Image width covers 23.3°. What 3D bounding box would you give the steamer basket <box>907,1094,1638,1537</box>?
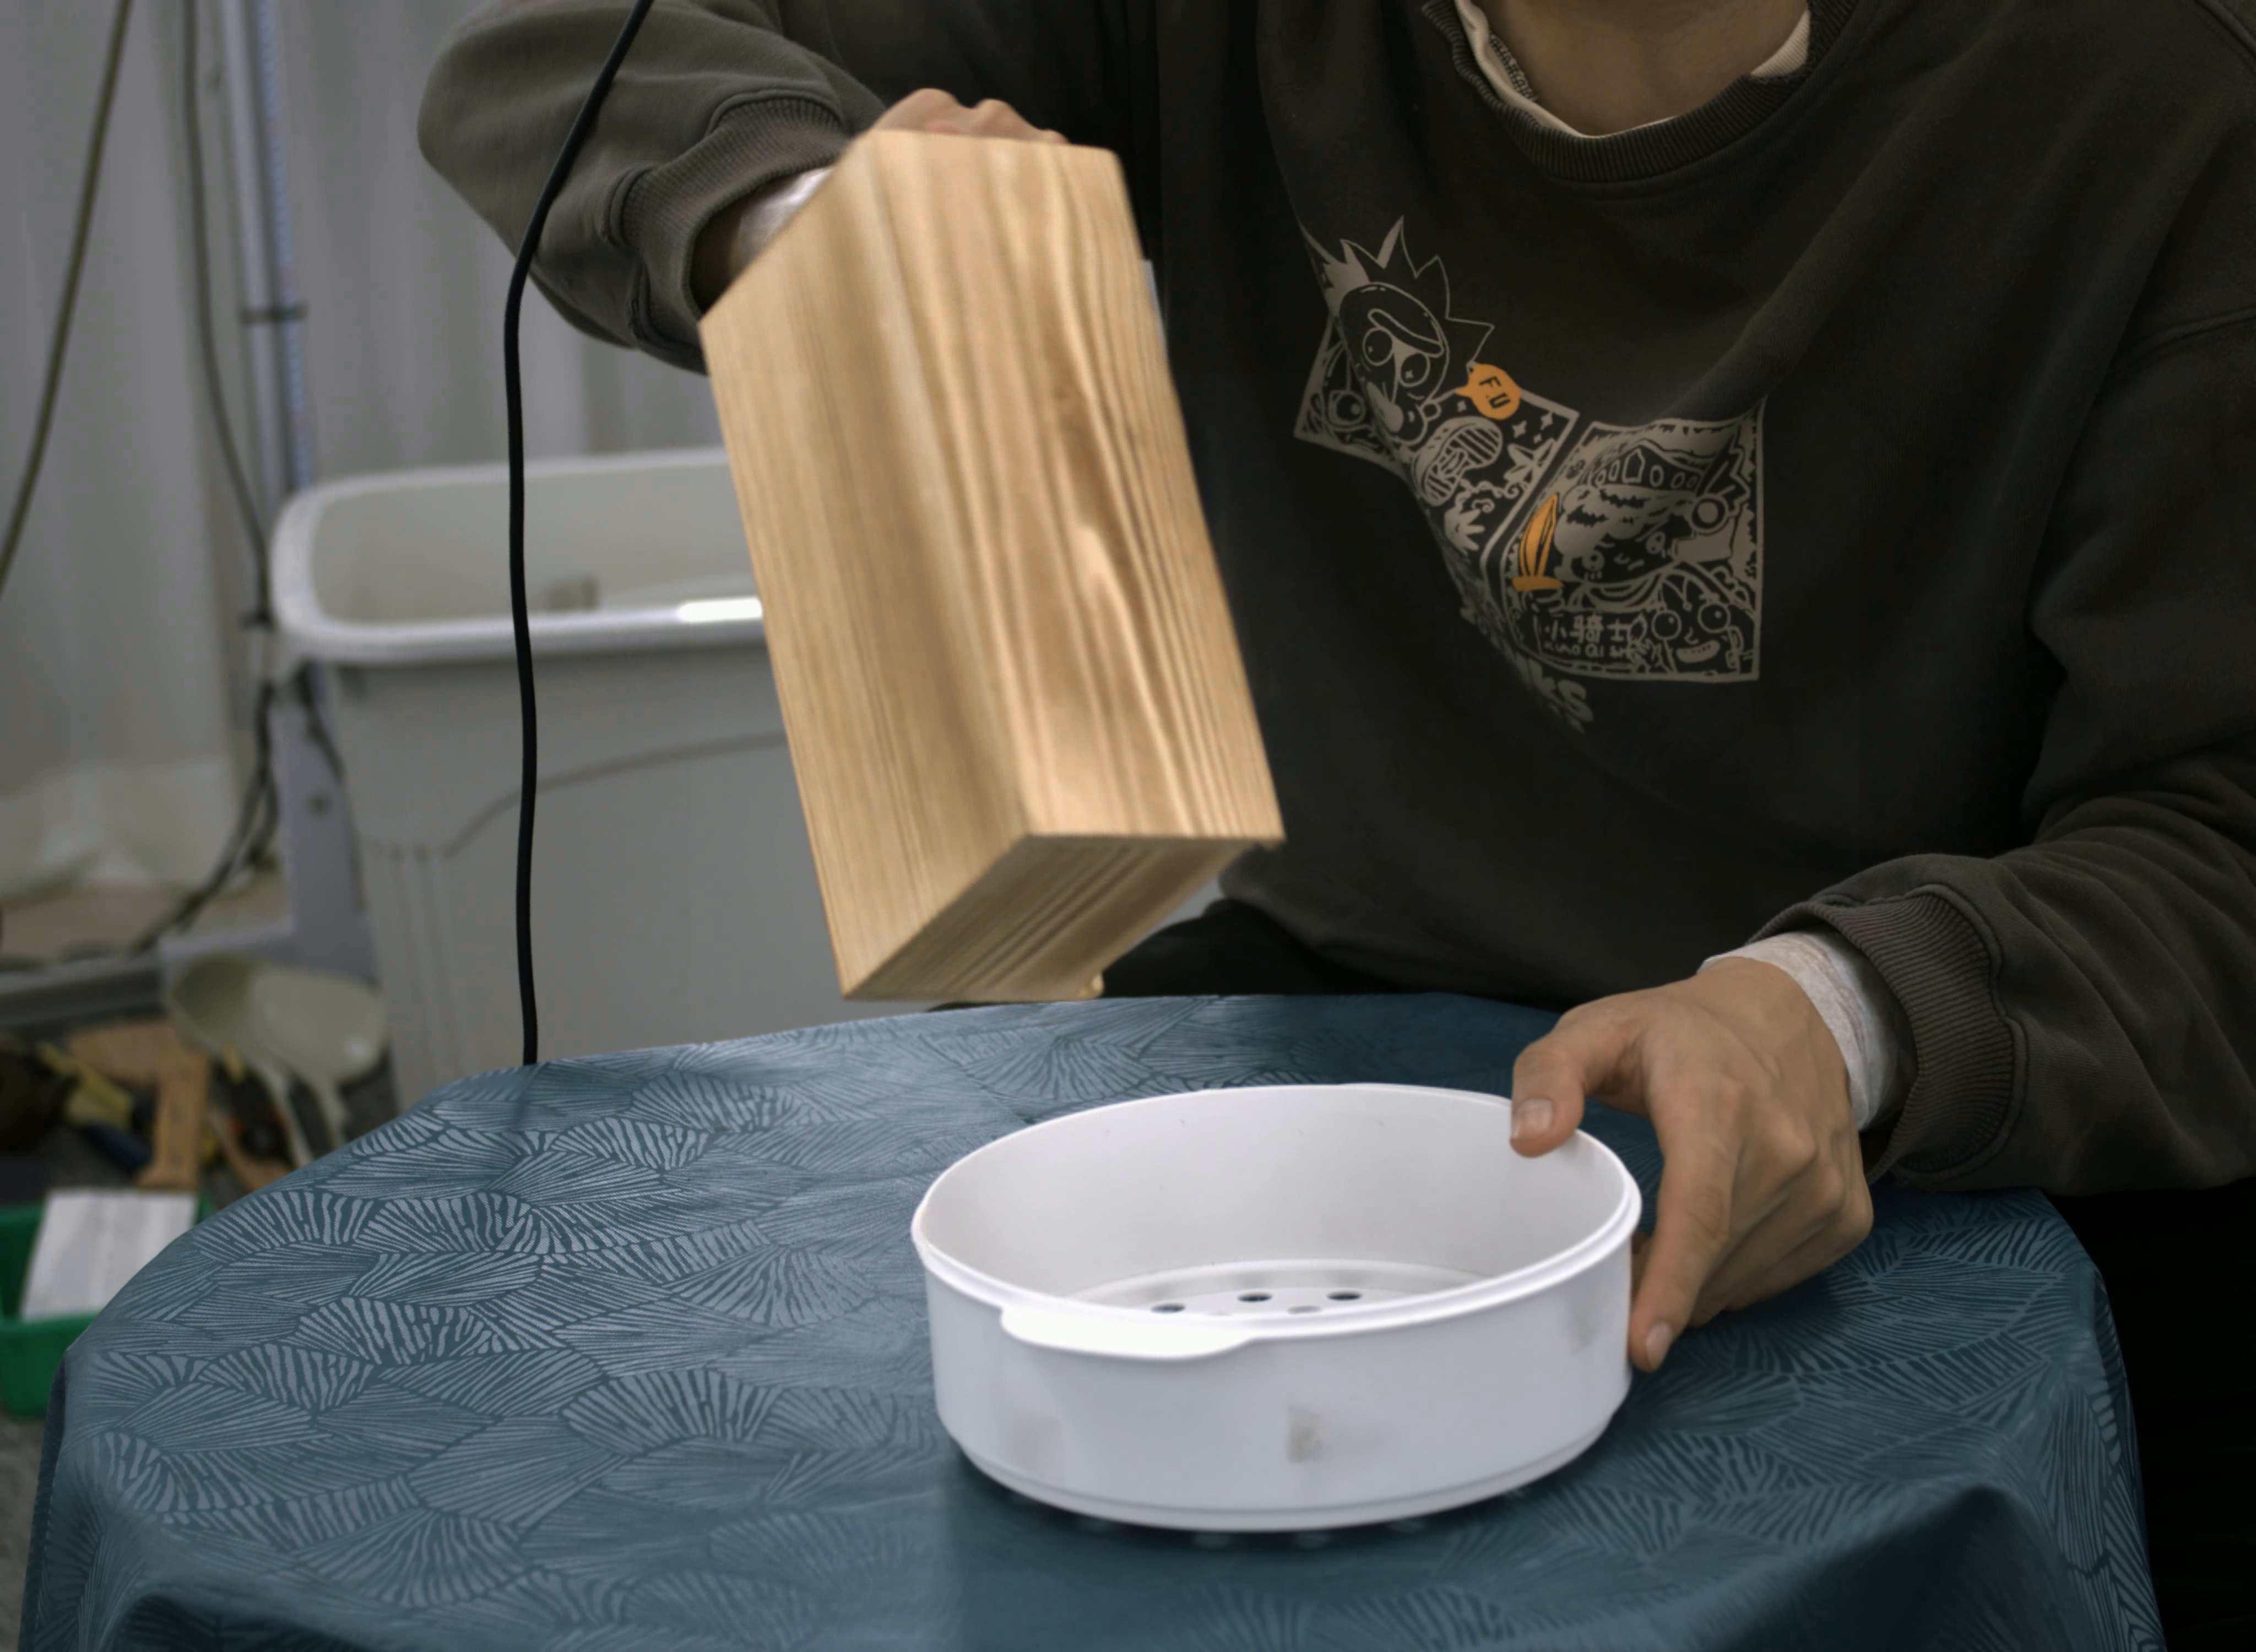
[{"bbox_3d":[0.040,0.135,1.510,0.202,0.069,0.231,5,16,26],"label":"steamer basket"}]

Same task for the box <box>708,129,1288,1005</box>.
[{"bbox_3d":[-0.039,-0.070,1.492,0.079,0.214,0.107,4,-29,-33],"label":"box"}]
